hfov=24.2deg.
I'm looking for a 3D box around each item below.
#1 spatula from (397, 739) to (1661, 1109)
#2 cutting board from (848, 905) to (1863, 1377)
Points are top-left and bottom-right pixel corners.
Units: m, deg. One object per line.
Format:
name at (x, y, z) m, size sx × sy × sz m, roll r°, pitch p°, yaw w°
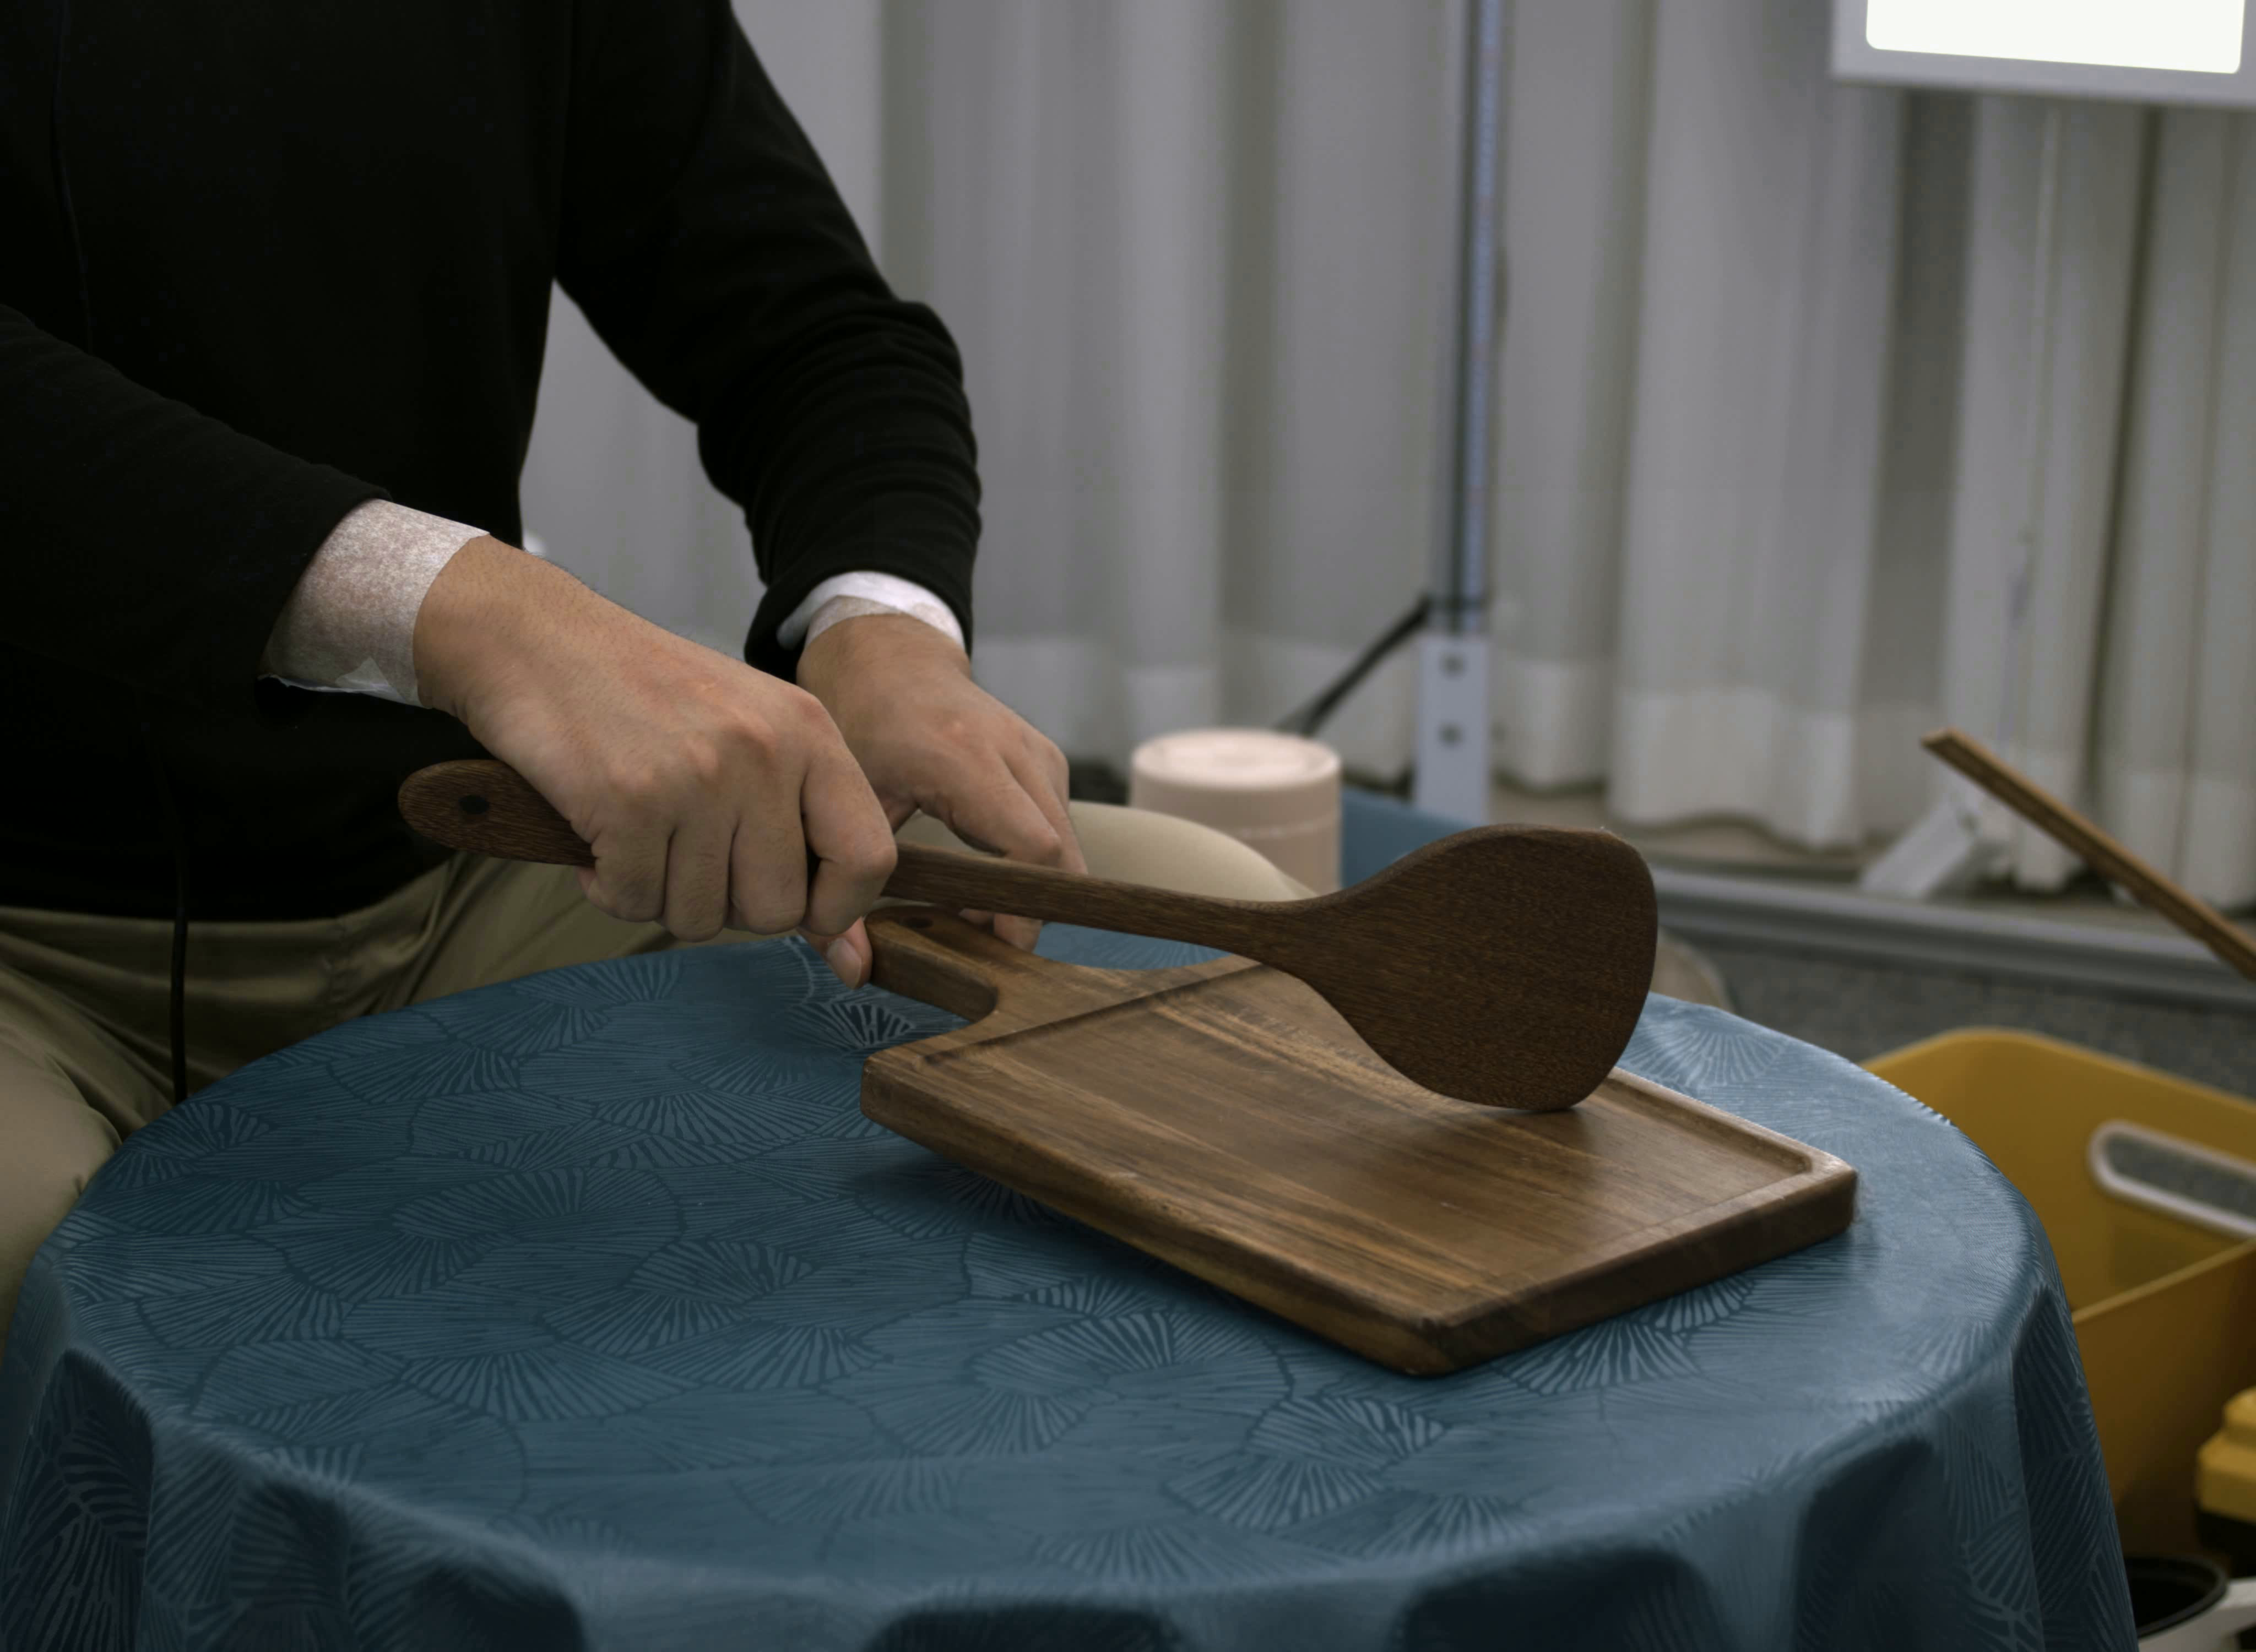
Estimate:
spatula at (-0.028, 0.017, 1.583) m, size 0.386 × 0.097 × 0.015 m, roll 10°, pitch 20°, yaw -9°
cutting board at (0.036, 0.083, 1.643) m, size 0.202 × 0.023 × 0.347 m, roll -14°, pitch 25°, yaw -42°
